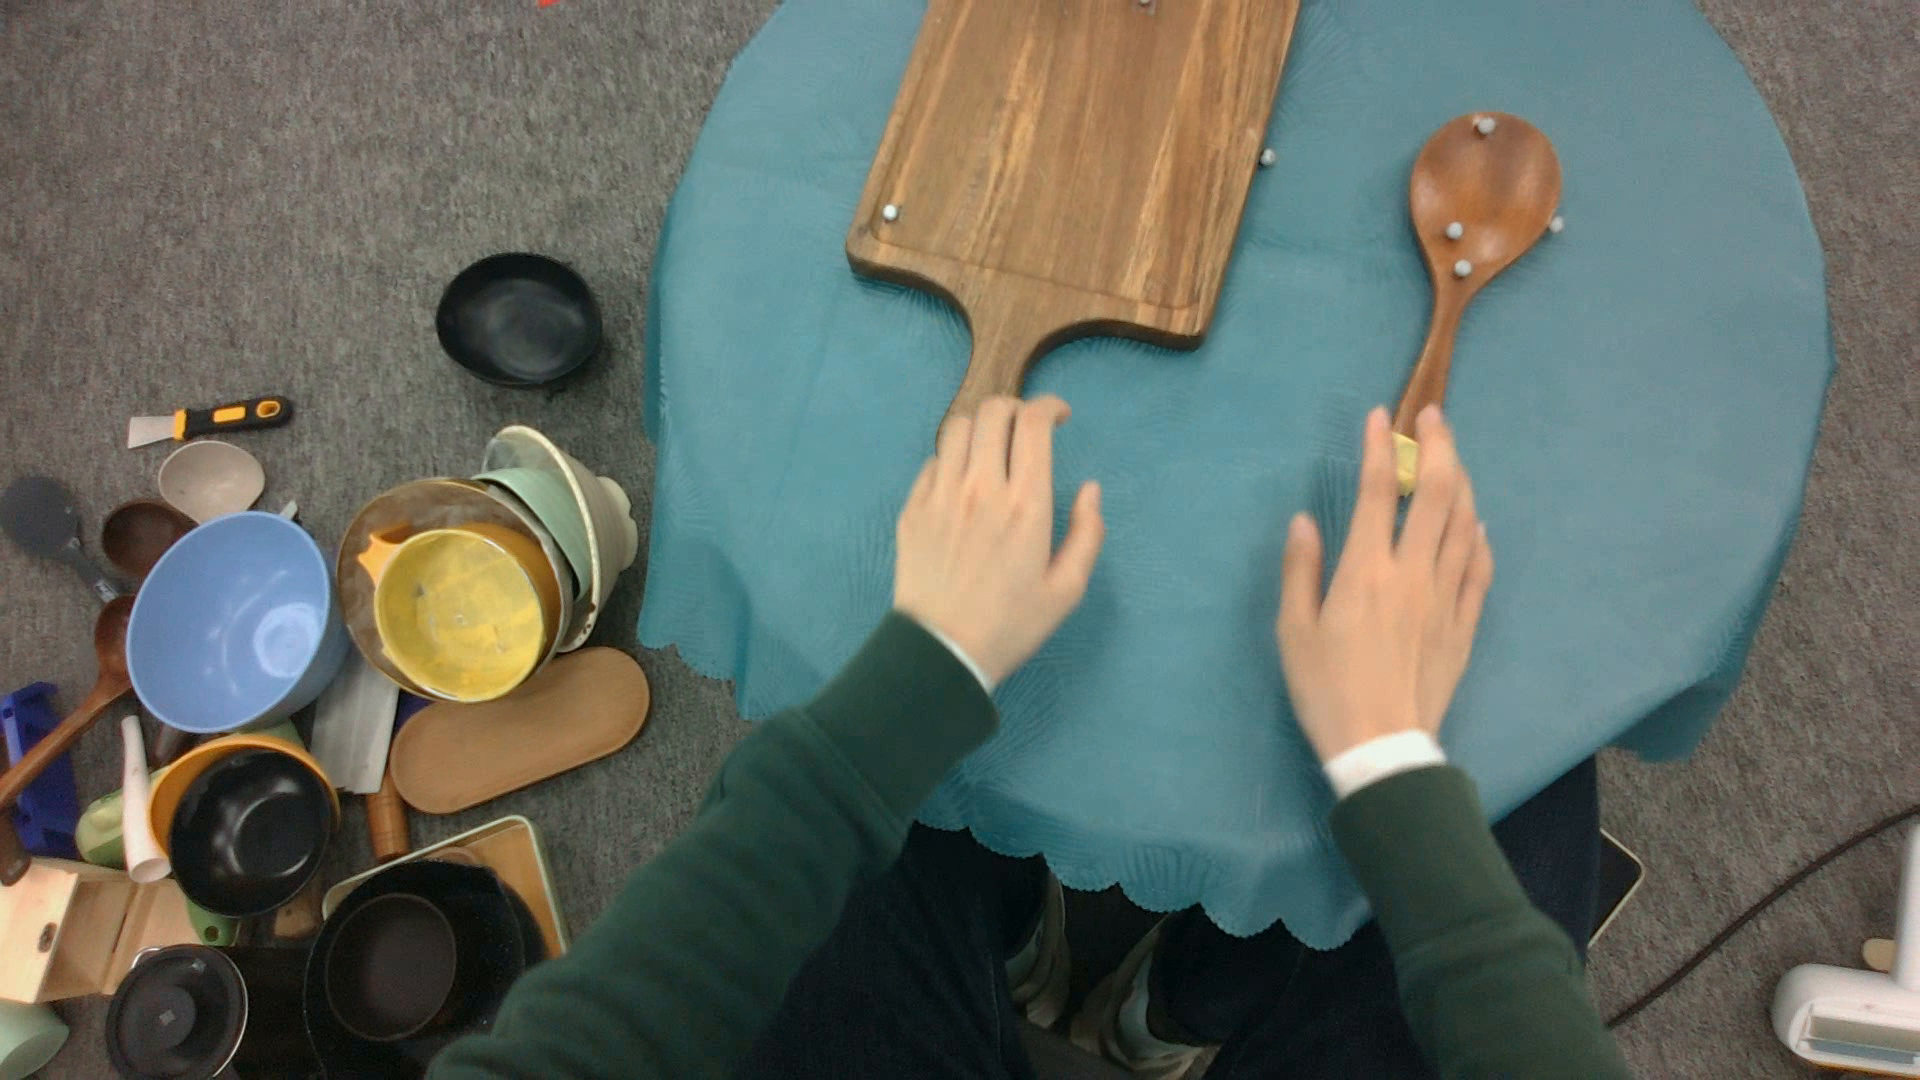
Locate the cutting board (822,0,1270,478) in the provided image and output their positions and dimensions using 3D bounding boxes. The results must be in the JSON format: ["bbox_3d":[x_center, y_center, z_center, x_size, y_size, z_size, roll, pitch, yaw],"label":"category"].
[{"bbox_3d":[0.040,-0.197,0.735,0.201,0.023,0.353,15,74,7],"label":"cutting board"}]

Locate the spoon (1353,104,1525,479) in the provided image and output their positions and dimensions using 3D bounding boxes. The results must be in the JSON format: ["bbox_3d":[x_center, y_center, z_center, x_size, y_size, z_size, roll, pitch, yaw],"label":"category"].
[{"bbox_3d":[0.235,-0.129,0.699,0.075,0.017,0.216,17,73,7],"label":"spoon"}]
